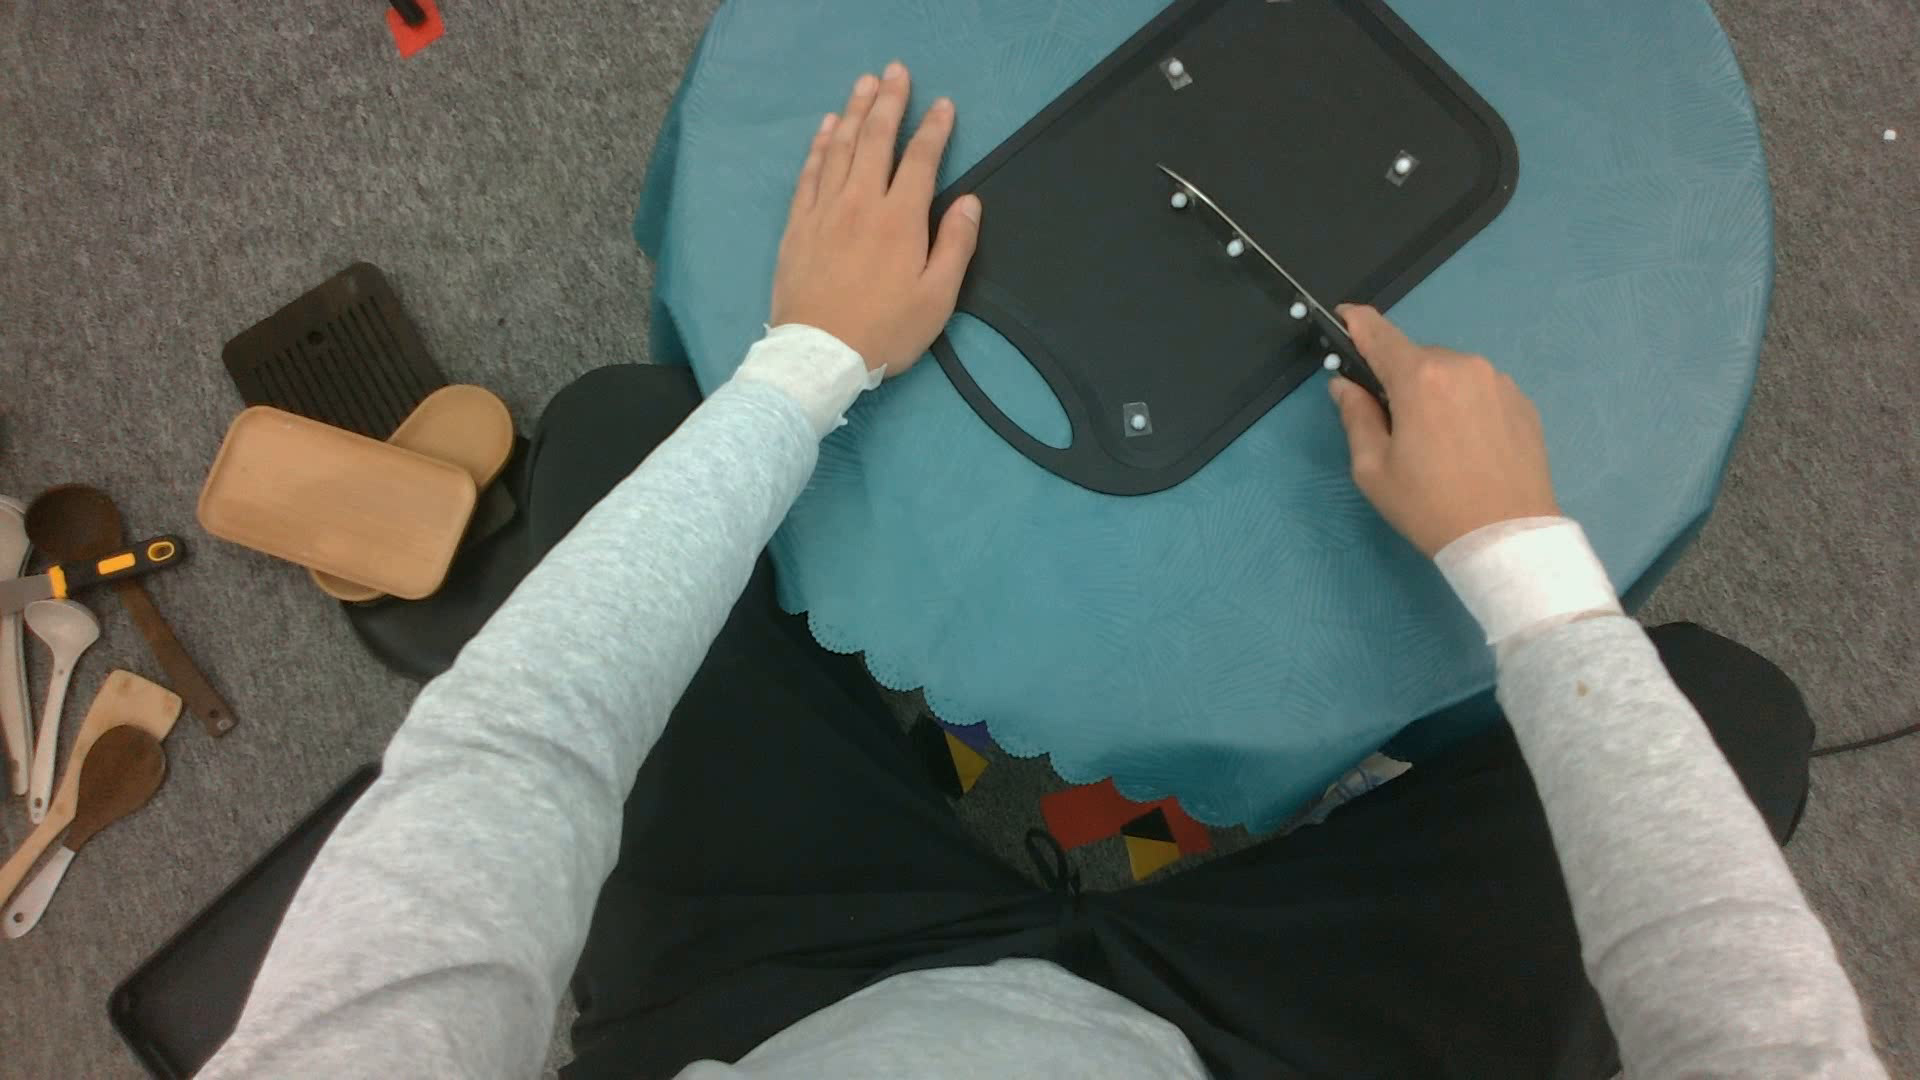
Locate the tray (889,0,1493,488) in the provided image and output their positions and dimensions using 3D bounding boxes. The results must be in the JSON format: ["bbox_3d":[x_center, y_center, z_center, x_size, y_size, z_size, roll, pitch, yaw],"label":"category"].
[{"bbox_3d":[0.121,-0.179,0.751,0.326,0.010,0.211,-40,81,-6],"label":"tray"}]

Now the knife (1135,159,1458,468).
[{"bbox_3d":[0.170,-0.126,0.718,0.016,0.024,0.238,-34,70,-19],"label":"knife"}]
